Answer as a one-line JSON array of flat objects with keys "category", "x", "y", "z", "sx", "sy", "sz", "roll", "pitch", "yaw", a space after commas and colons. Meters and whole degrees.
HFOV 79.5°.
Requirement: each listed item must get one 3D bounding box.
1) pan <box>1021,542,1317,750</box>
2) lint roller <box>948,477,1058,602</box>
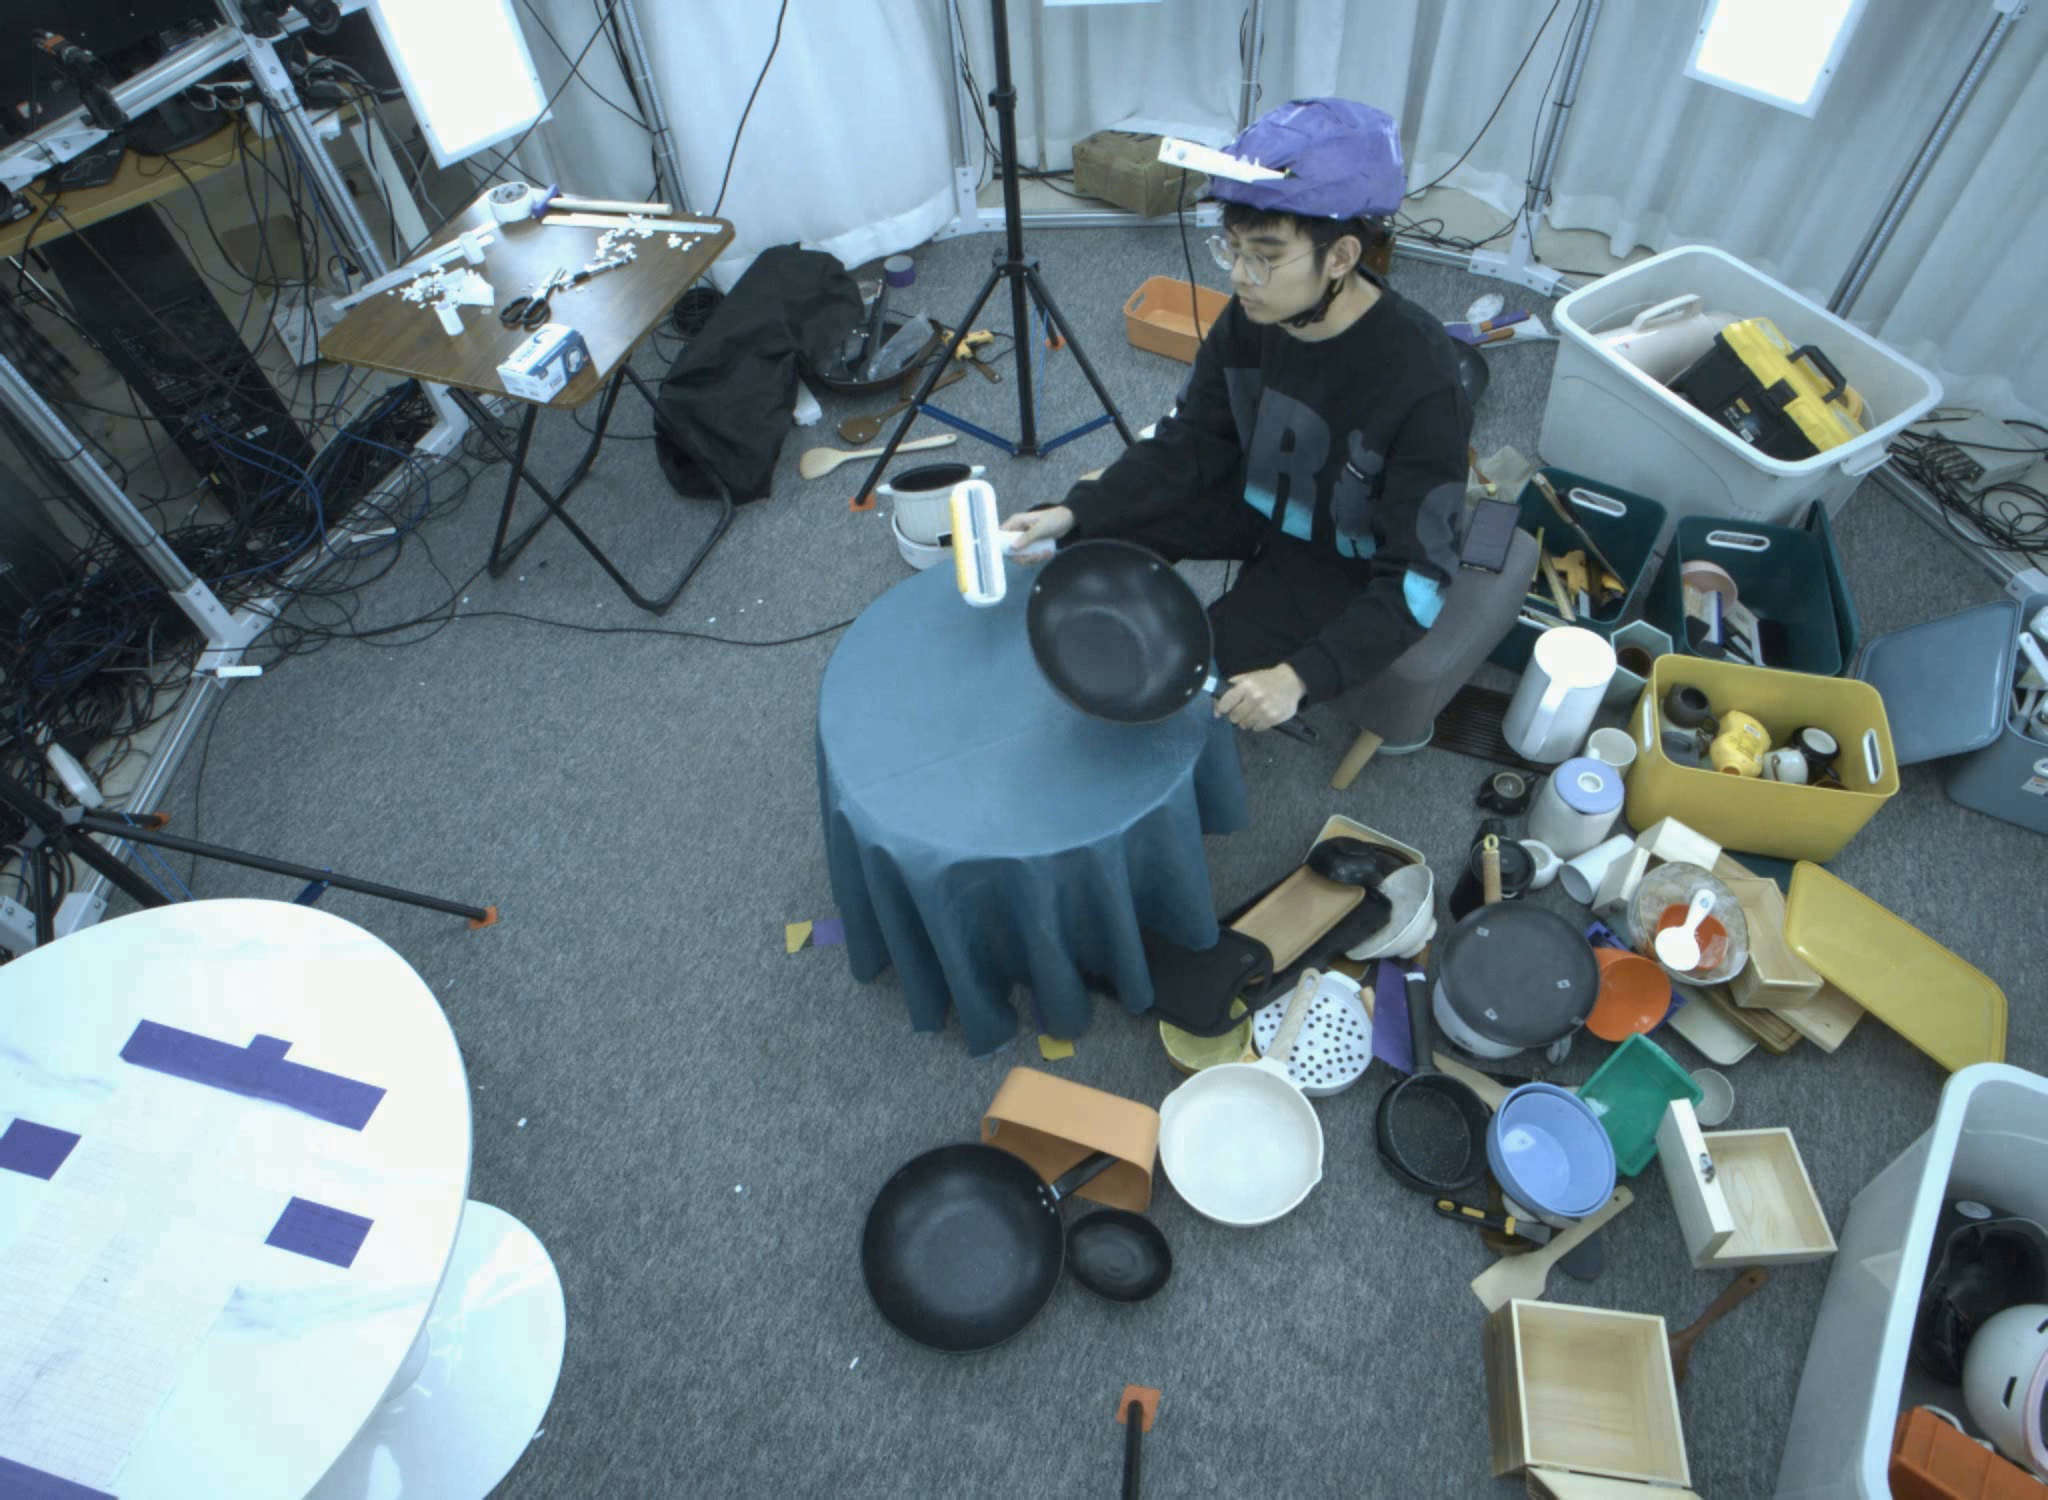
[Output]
[{"category": "pan", "x": 0.199, "y": -0.108, "z": 1.738, "sx": 0.467, "sy": 0.086, "sz": 0.287, "roll": 27, "pitch": 62, "yaw": -9}, {"category": "lint roller", "x": -0.025, "y": -0.323, "z": 1.894, "sx": 0.196, "sy": 0.073, "sz": 0.192, "roll": -4, "pitch": 85, "yaw": -29}]
